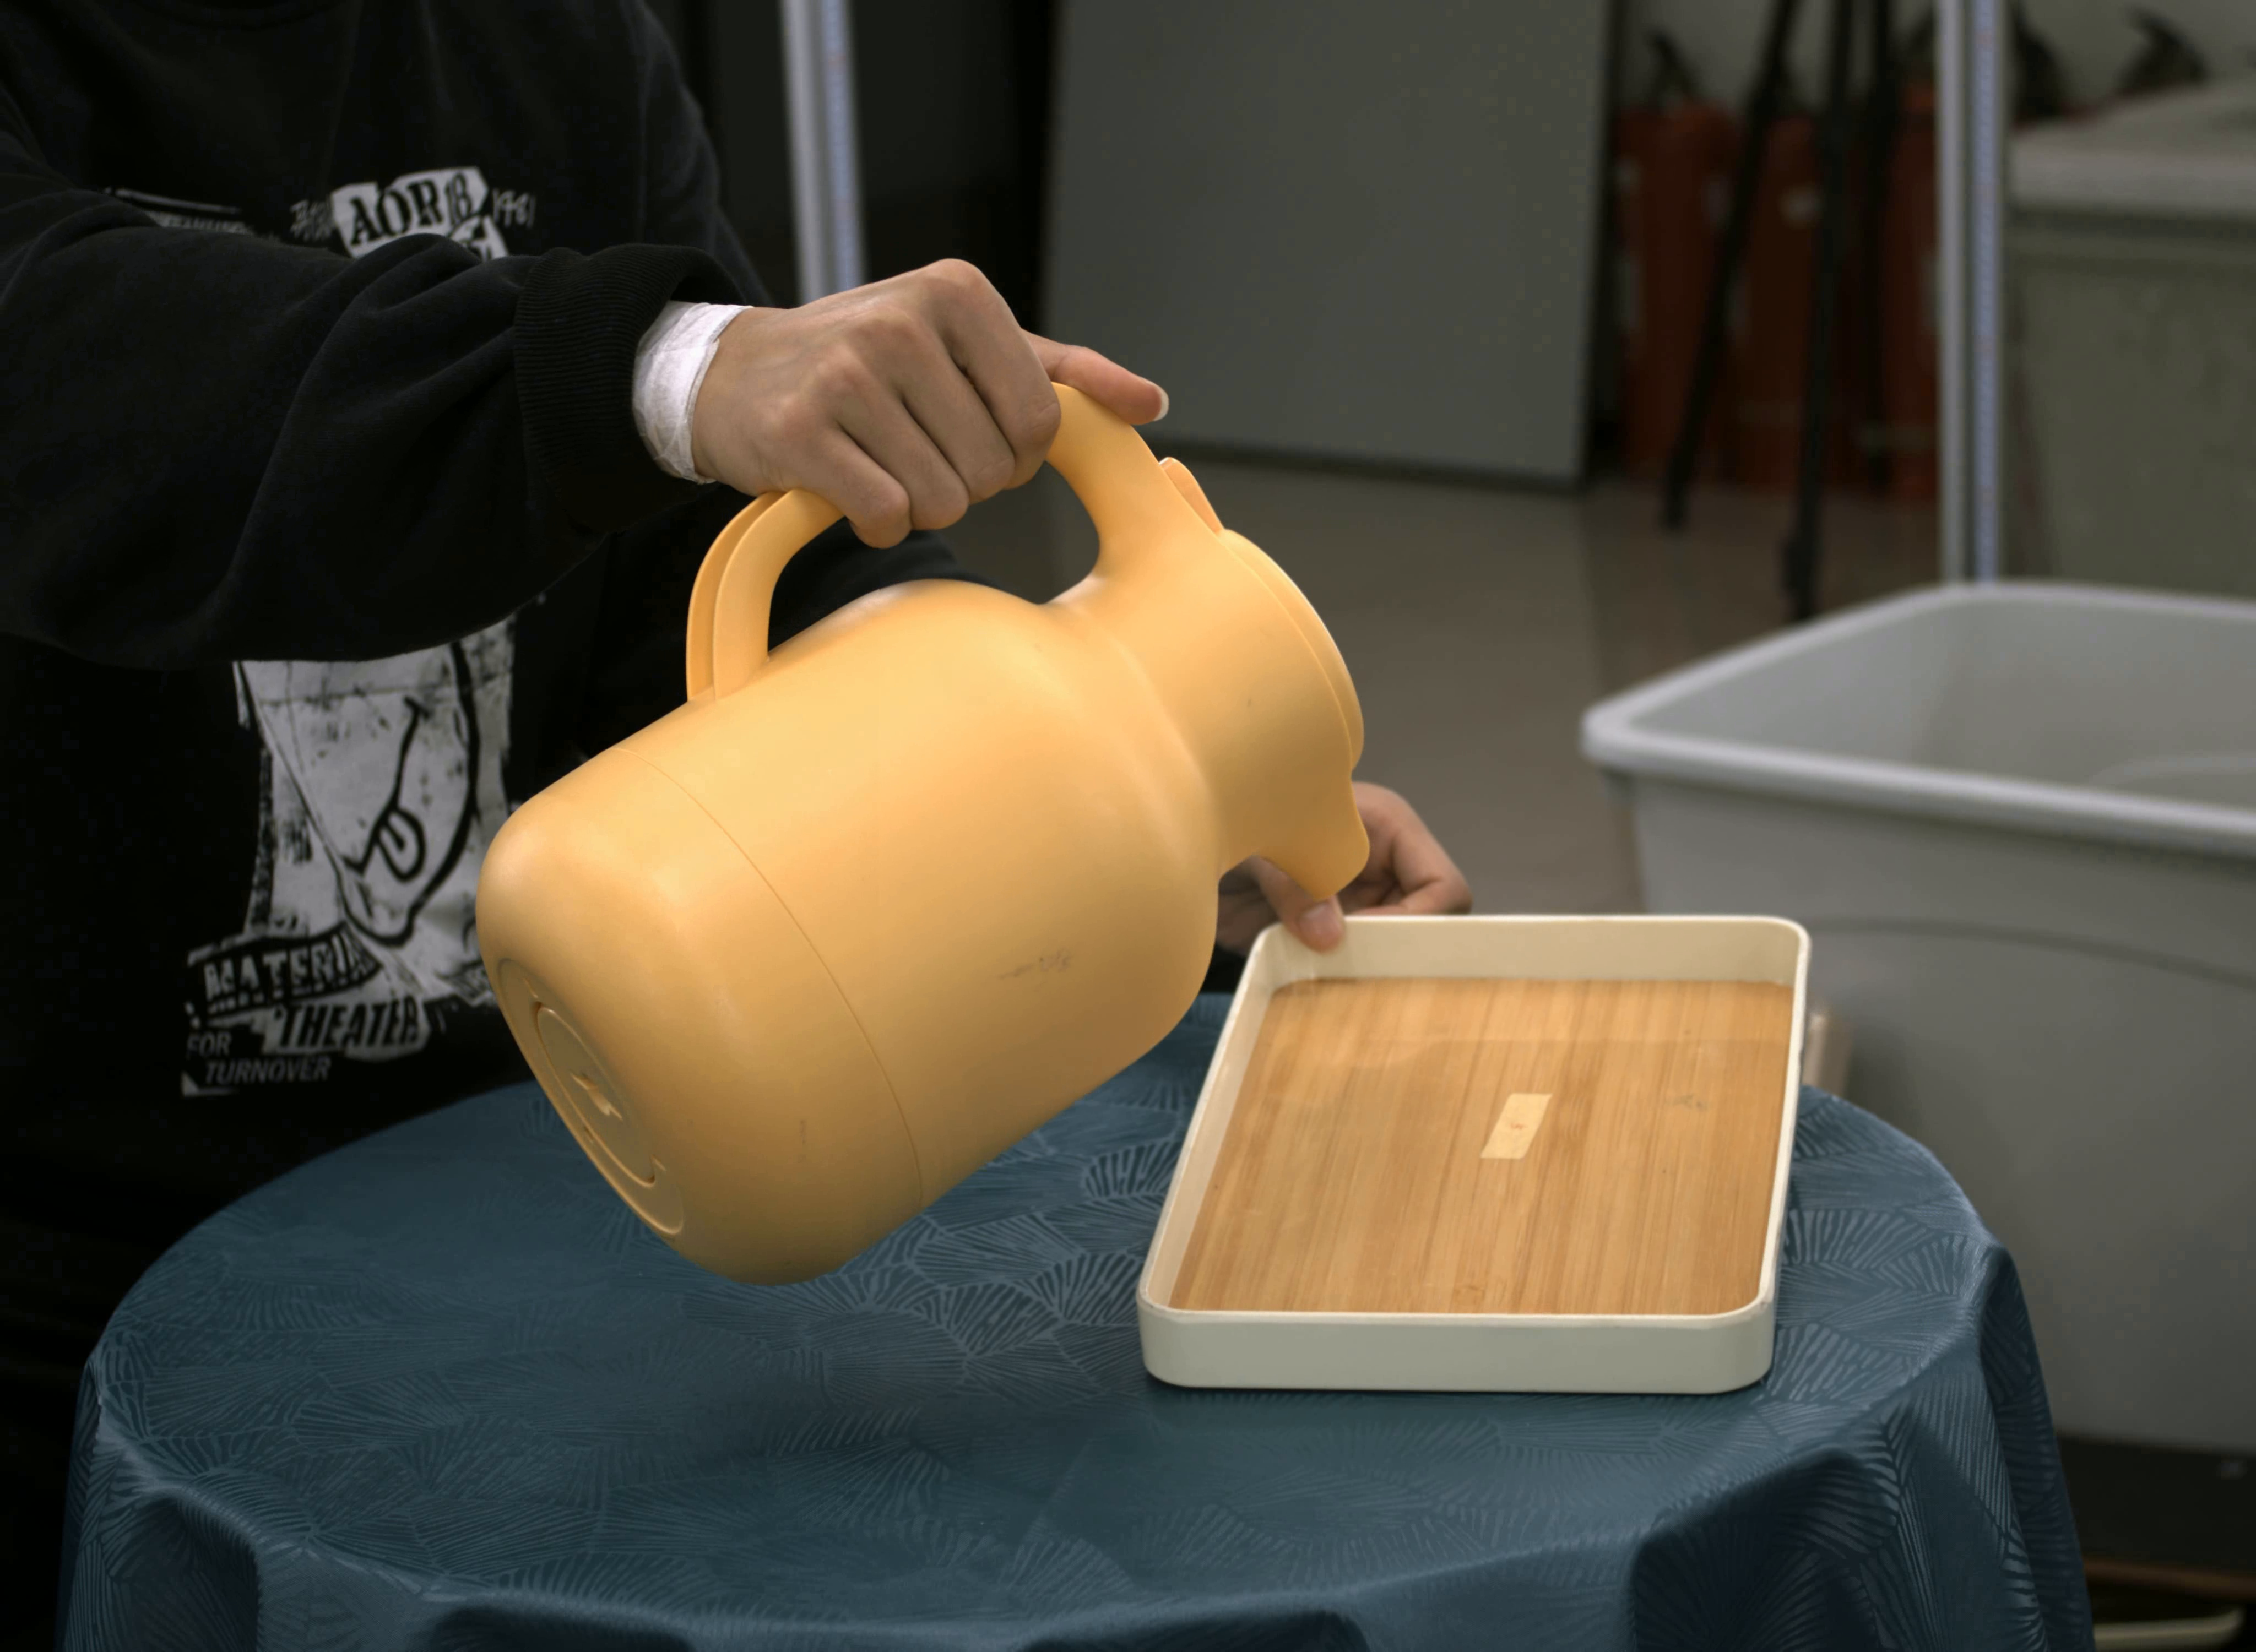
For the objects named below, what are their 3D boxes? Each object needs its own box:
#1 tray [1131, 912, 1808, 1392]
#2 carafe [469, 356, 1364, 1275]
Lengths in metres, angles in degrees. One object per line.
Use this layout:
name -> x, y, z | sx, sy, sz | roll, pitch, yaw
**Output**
tray -> 0.115, 0.097, 1.697 | 0.190, 0.027, 0.299 | -1, 22, 11
carafe -> -0.064, -0.011, 1.577 | 0.257, 0.203, 0.165 | -32, 8, -19
